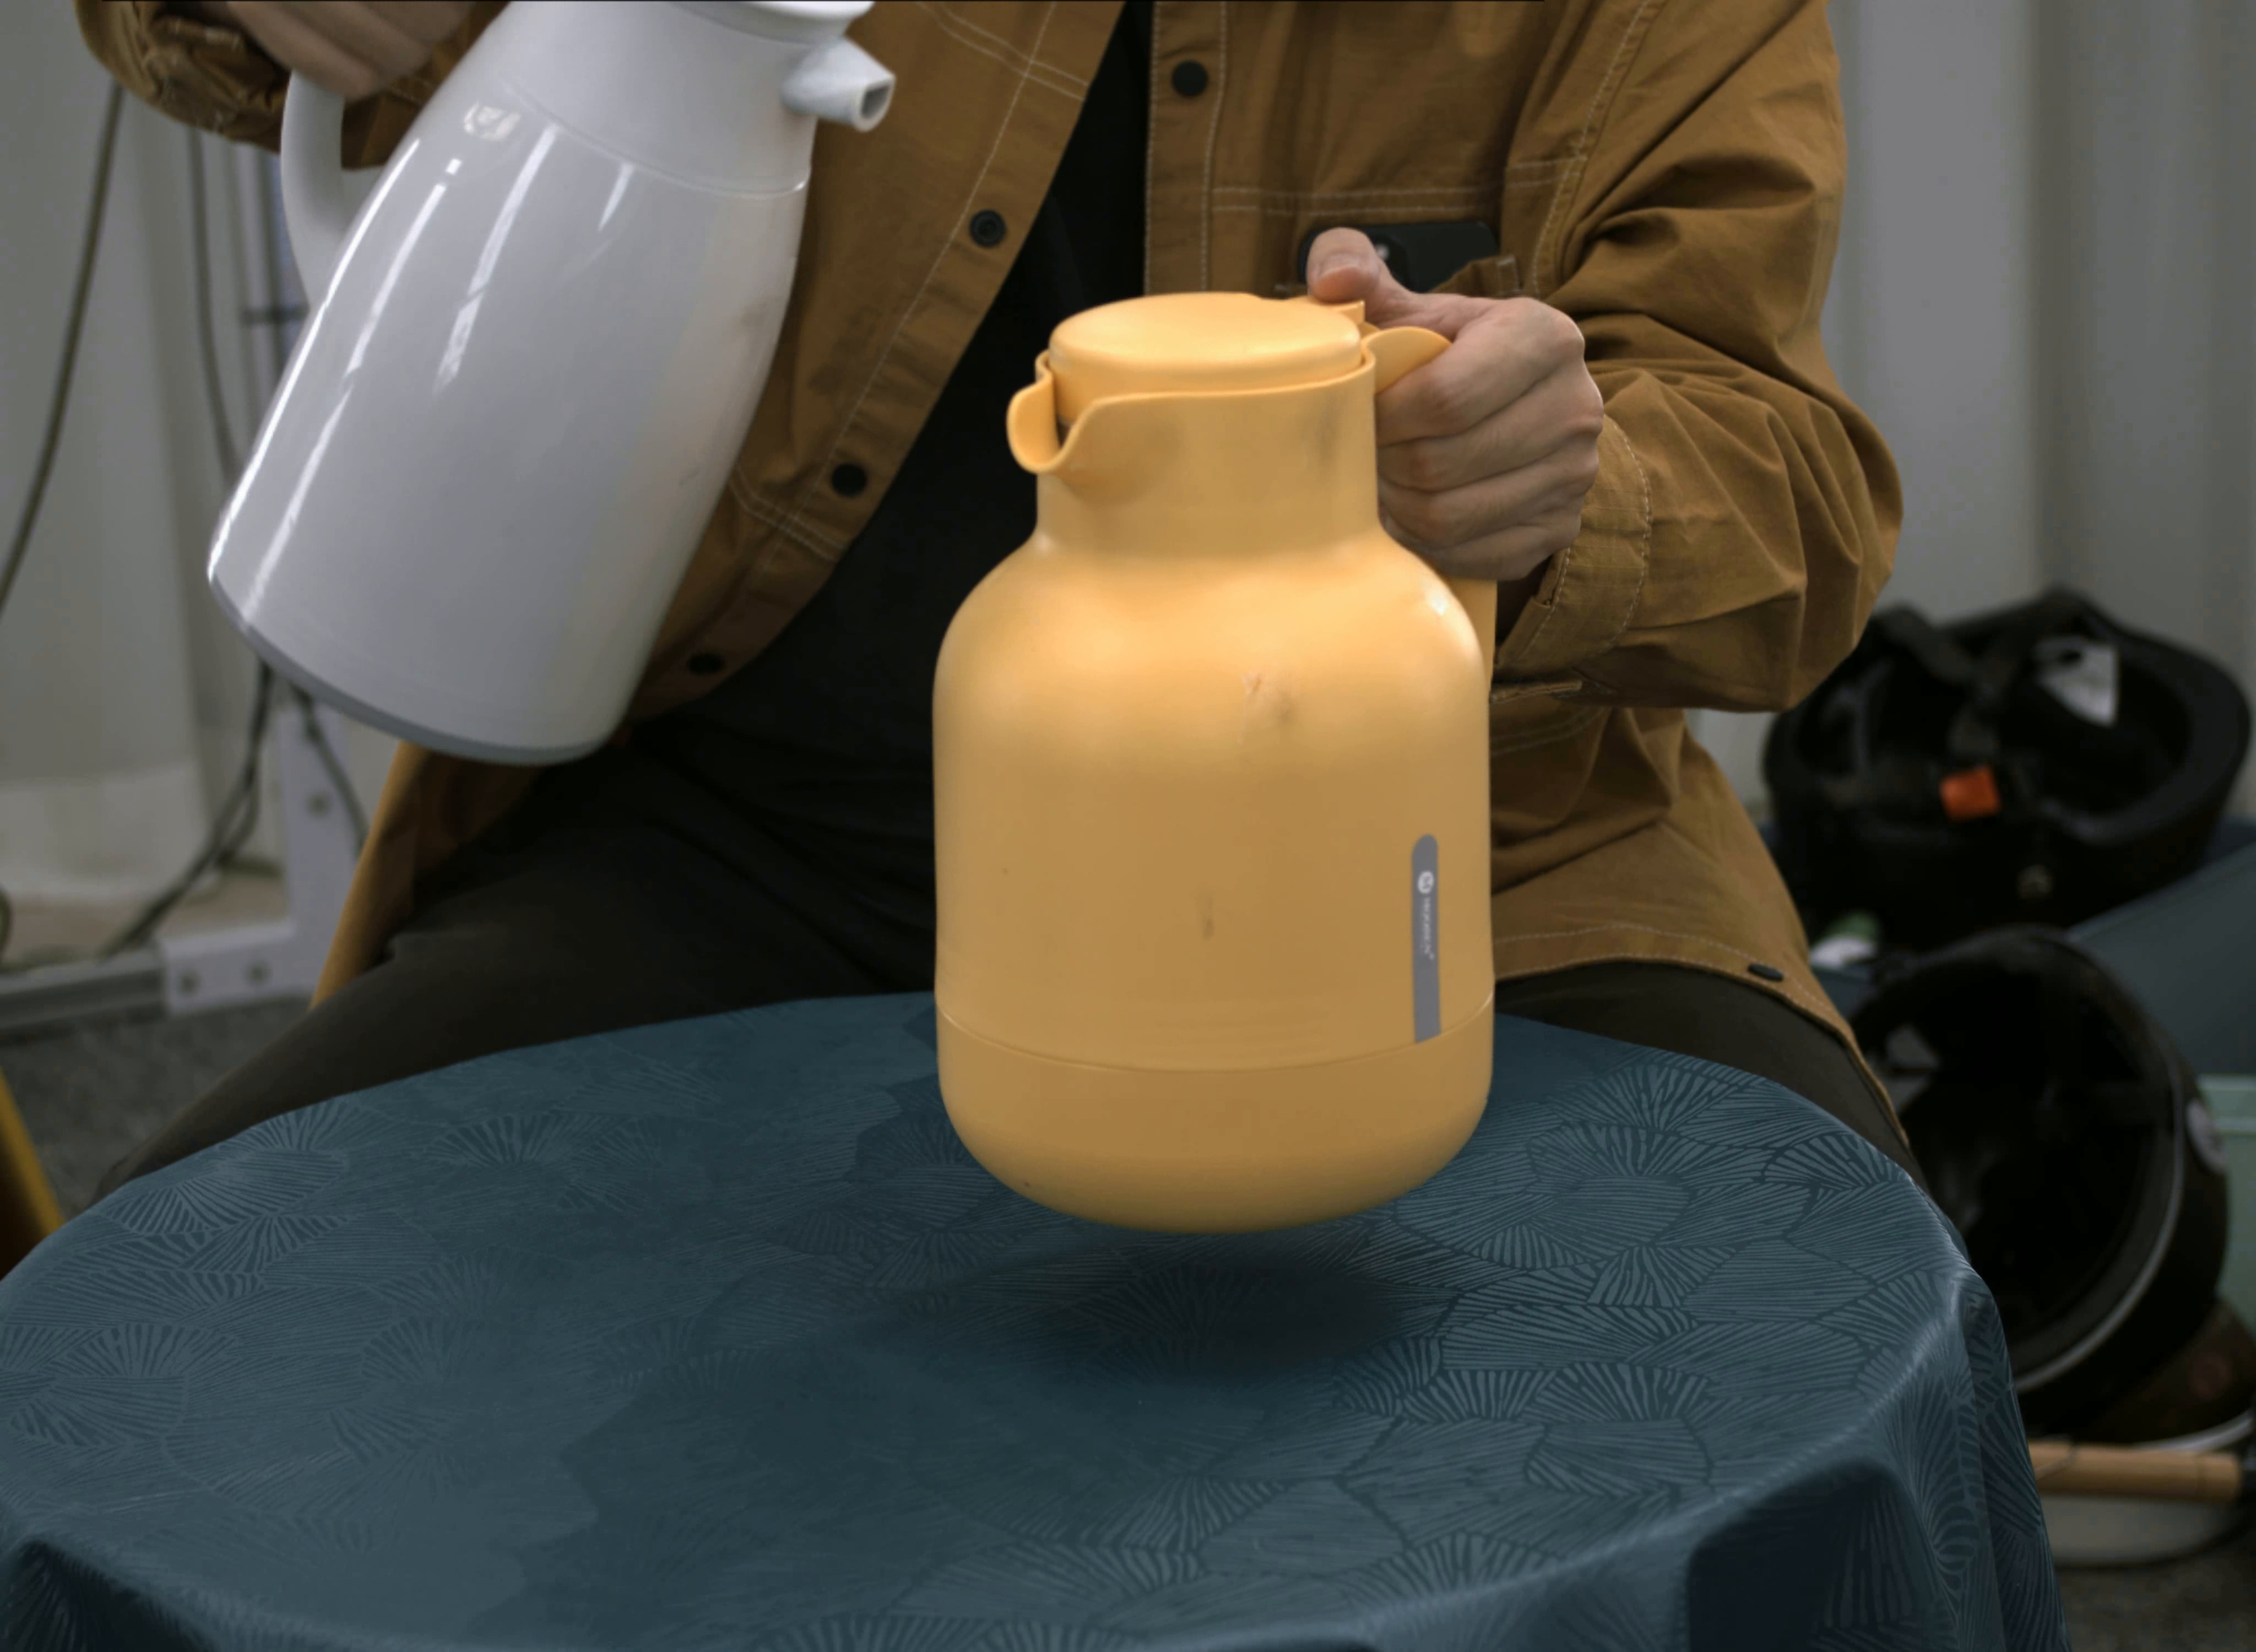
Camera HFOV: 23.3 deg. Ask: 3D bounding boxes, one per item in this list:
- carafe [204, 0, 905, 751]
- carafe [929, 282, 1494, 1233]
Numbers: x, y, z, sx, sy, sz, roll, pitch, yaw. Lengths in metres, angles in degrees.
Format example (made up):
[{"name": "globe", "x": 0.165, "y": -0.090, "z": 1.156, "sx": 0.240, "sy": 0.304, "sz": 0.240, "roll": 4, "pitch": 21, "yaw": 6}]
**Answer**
[{"name": "carafe", "x": -0.175, "y": -0.169, "z": 1.577, "sx": 0.168, "sy": 0.247, "sz": 0.133, "roll": 33, "pitch": 24, "yaw": 13}, {"name": "carafe", "x": 0.037, "y": -0.027, "z": 1.588, "sx": 0.164, "sy": 0.259, "sz": 0.202, "roll": 15, "pitch": 23, "yaw": 41}]
